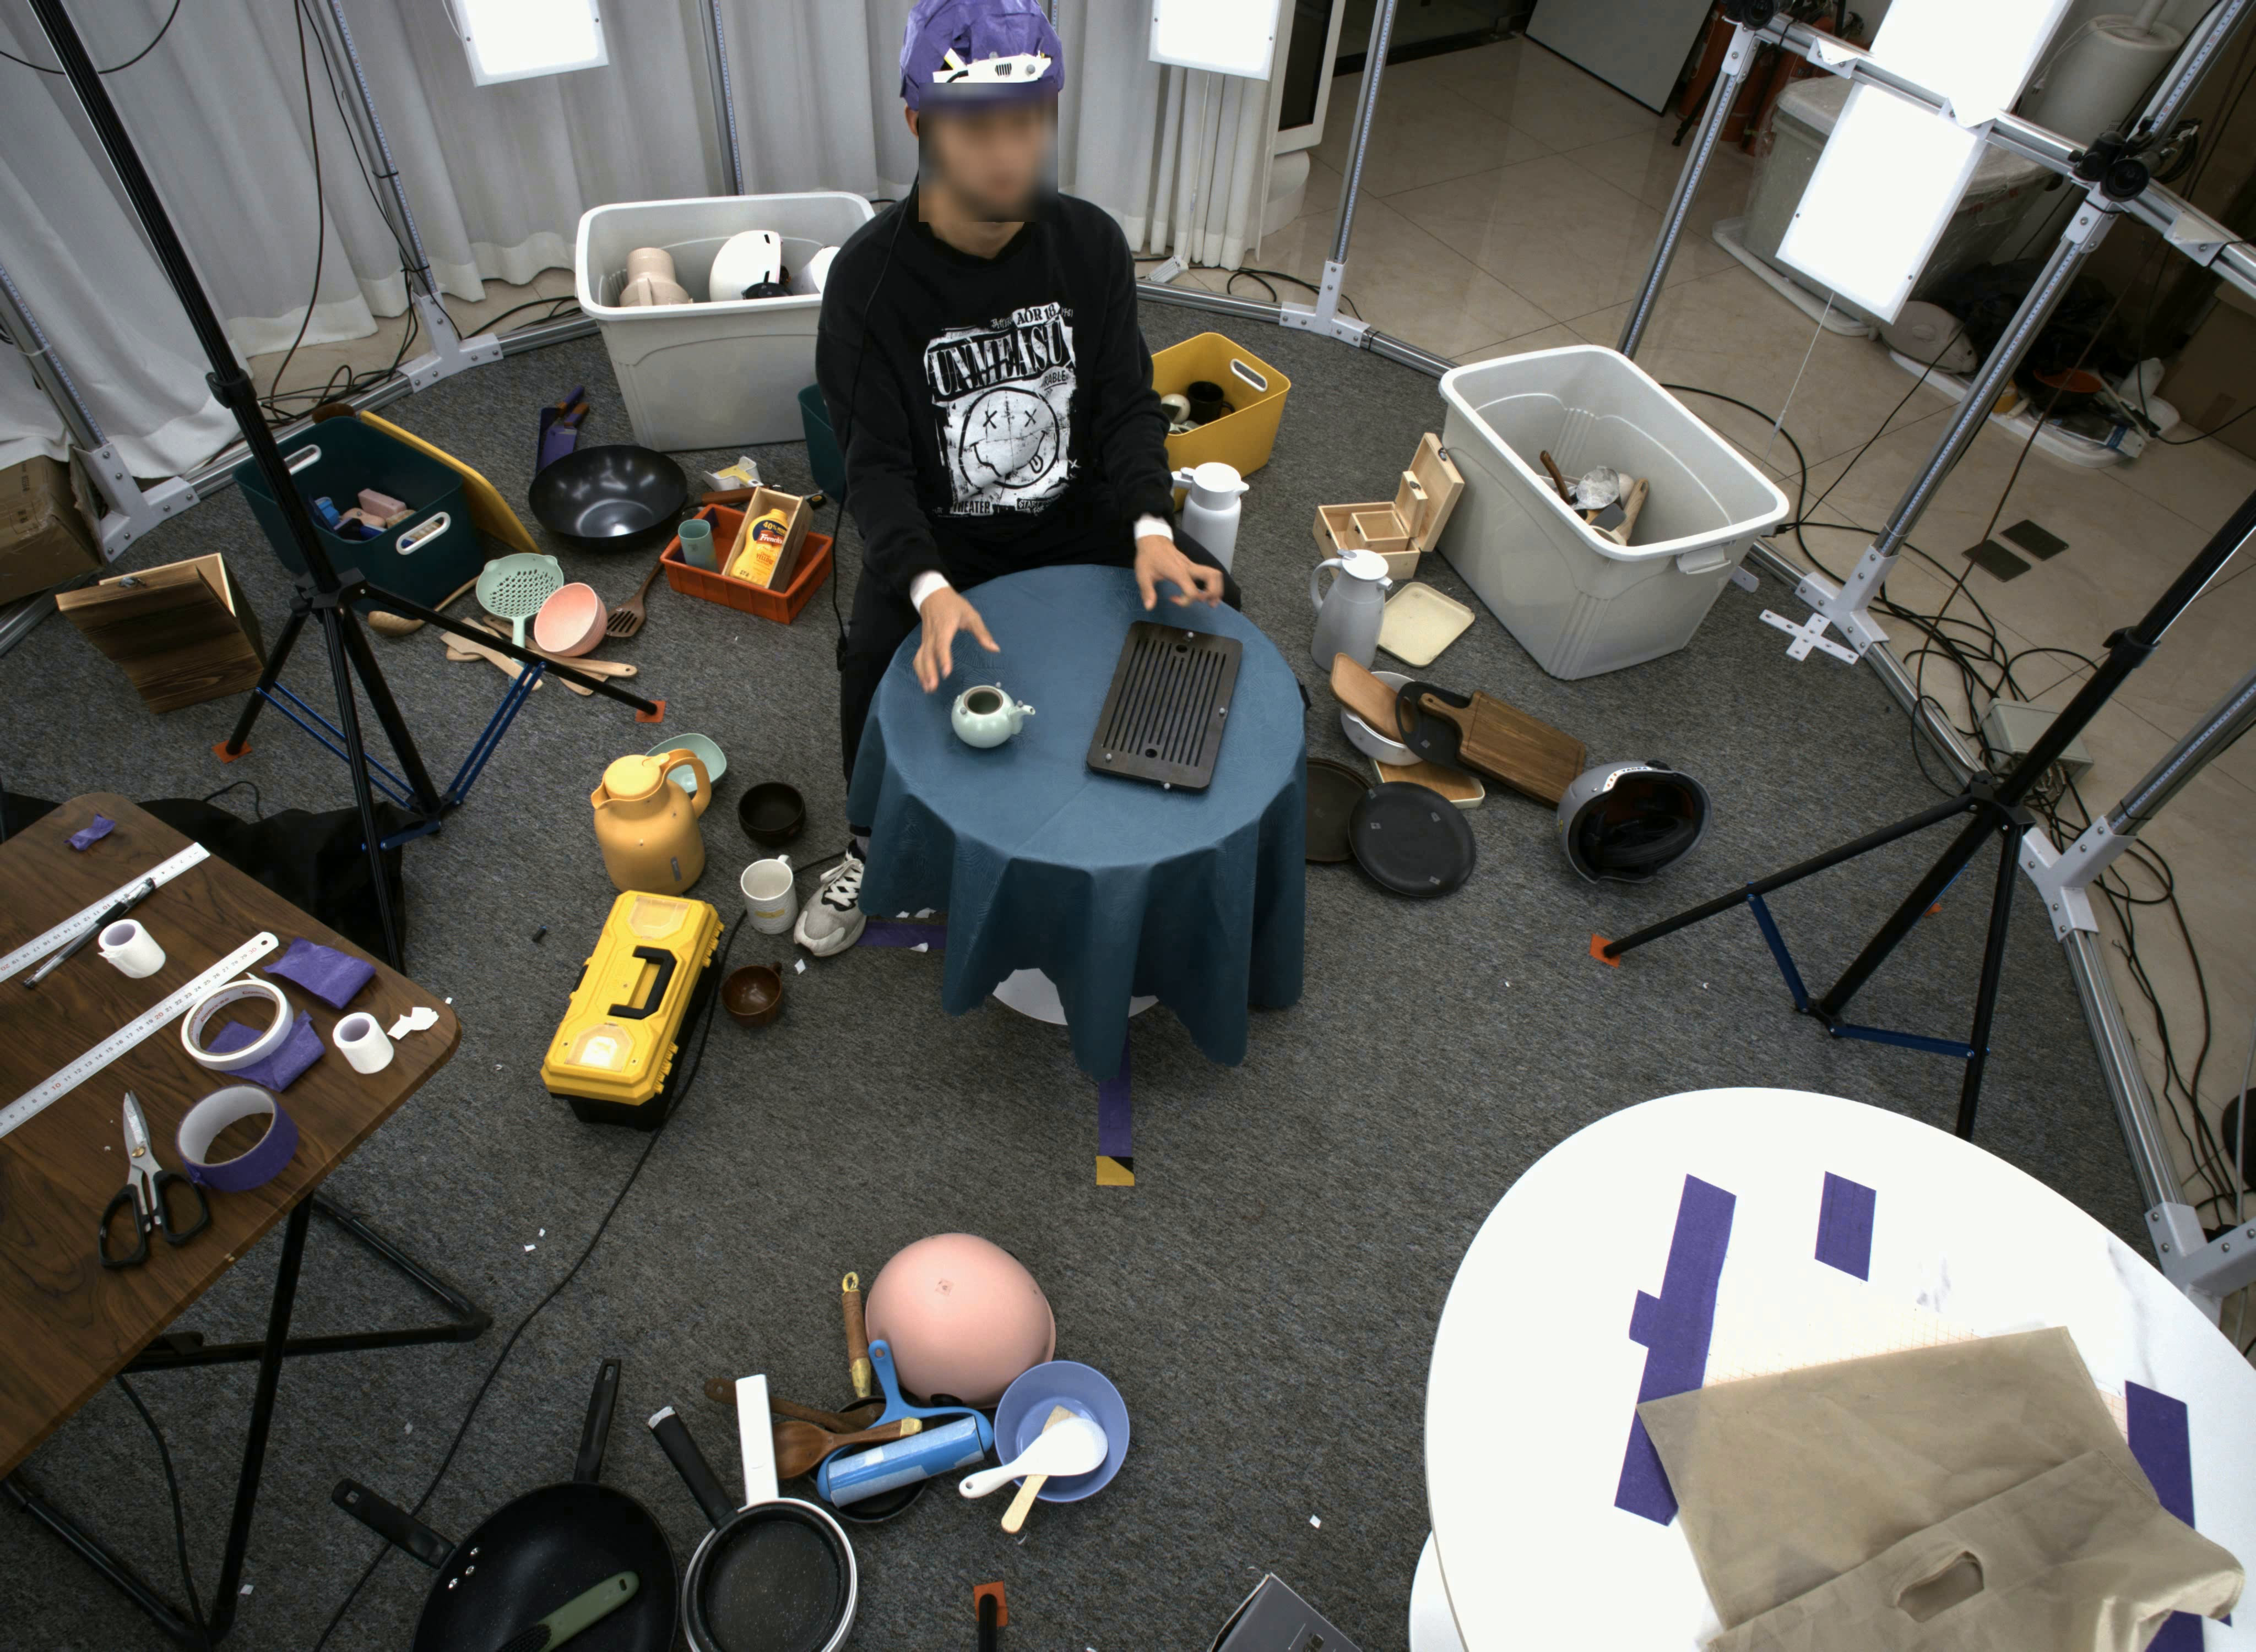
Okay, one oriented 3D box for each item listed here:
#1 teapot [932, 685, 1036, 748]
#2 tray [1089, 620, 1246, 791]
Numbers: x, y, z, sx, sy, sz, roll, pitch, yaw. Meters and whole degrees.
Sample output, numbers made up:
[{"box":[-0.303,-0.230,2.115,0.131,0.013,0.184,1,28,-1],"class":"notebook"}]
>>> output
[{"box":[-0.195,-0.149,1.740,0.144,0.073,0.090,16,50,8],"class":"teapot"},{"box":[0.061,-0.174,1.812,0.170,0.018,0.313,11,49,7],"class":"tray"}]
